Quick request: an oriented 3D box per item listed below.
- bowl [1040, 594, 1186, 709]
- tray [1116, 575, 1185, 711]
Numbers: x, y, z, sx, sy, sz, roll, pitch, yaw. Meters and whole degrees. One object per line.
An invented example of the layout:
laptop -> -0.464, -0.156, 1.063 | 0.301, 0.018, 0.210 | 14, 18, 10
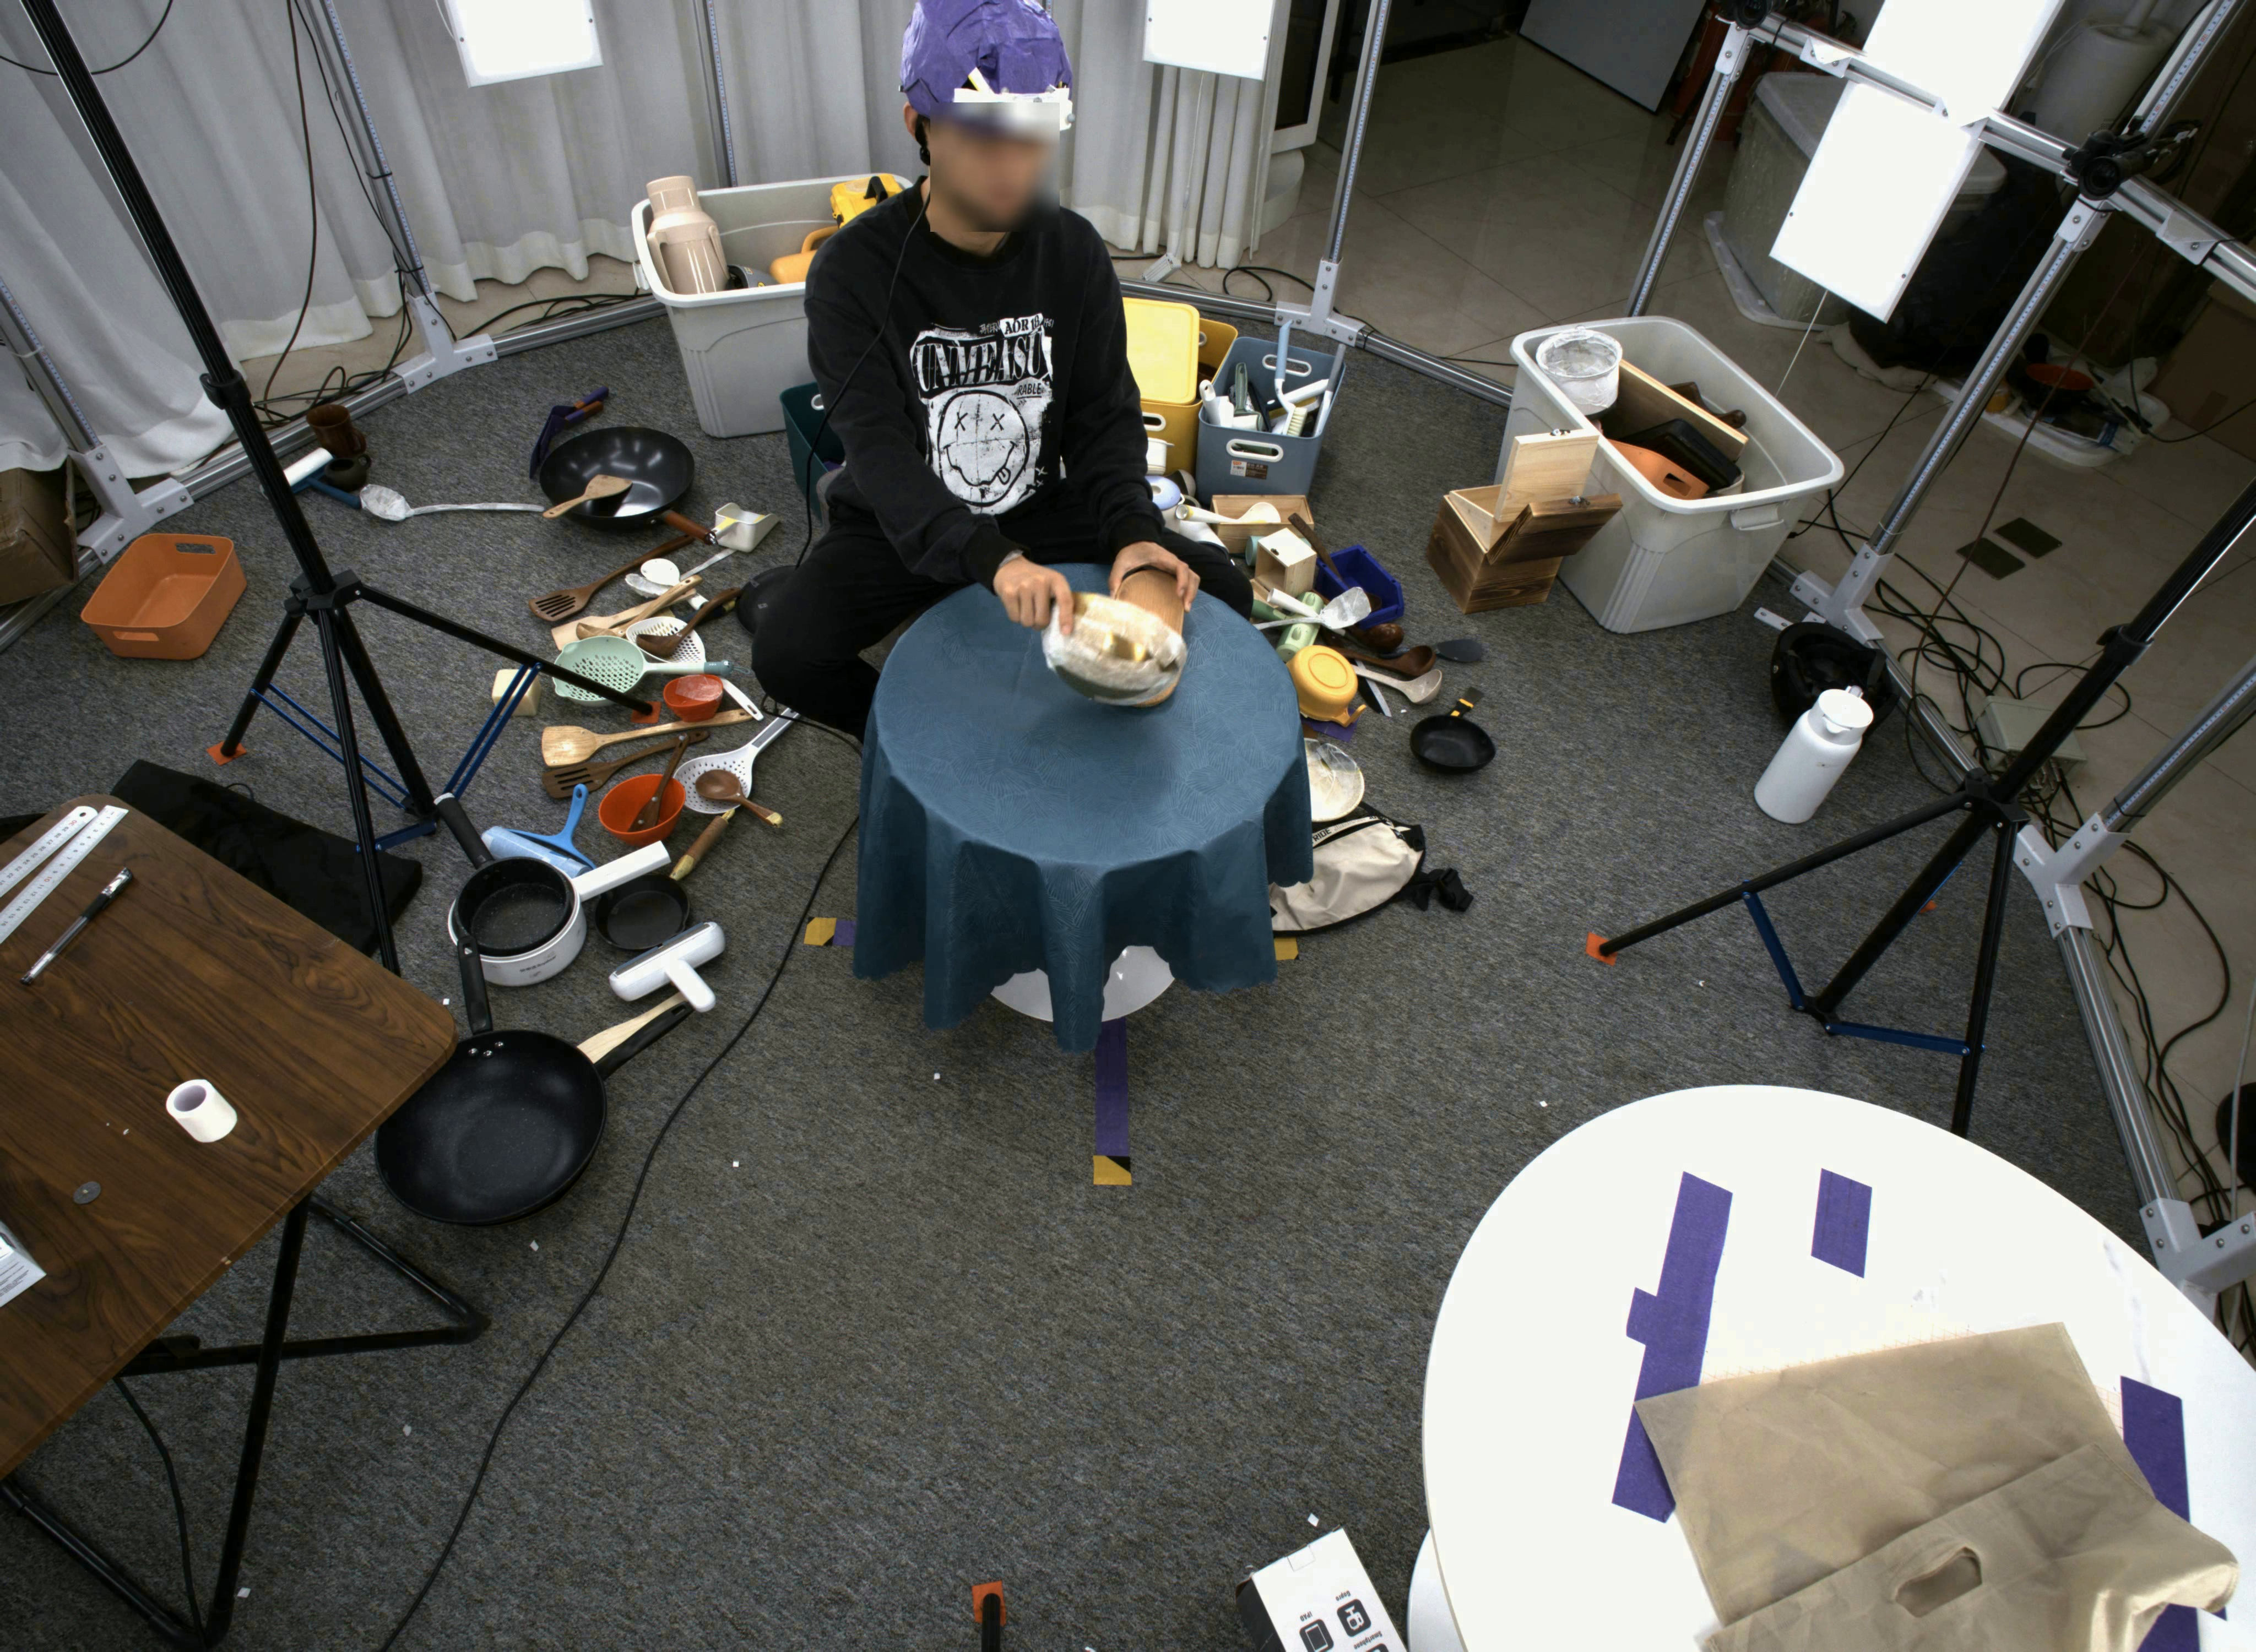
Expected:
bowl -> -0.033, -0.215, 1.716 | 0.215, 0.211, 0.095 | 18, 76, 11
tray -> 0.029, -0.269, 1.877 | 0.102, 0.020, 0.236 | 3, 64, 5
